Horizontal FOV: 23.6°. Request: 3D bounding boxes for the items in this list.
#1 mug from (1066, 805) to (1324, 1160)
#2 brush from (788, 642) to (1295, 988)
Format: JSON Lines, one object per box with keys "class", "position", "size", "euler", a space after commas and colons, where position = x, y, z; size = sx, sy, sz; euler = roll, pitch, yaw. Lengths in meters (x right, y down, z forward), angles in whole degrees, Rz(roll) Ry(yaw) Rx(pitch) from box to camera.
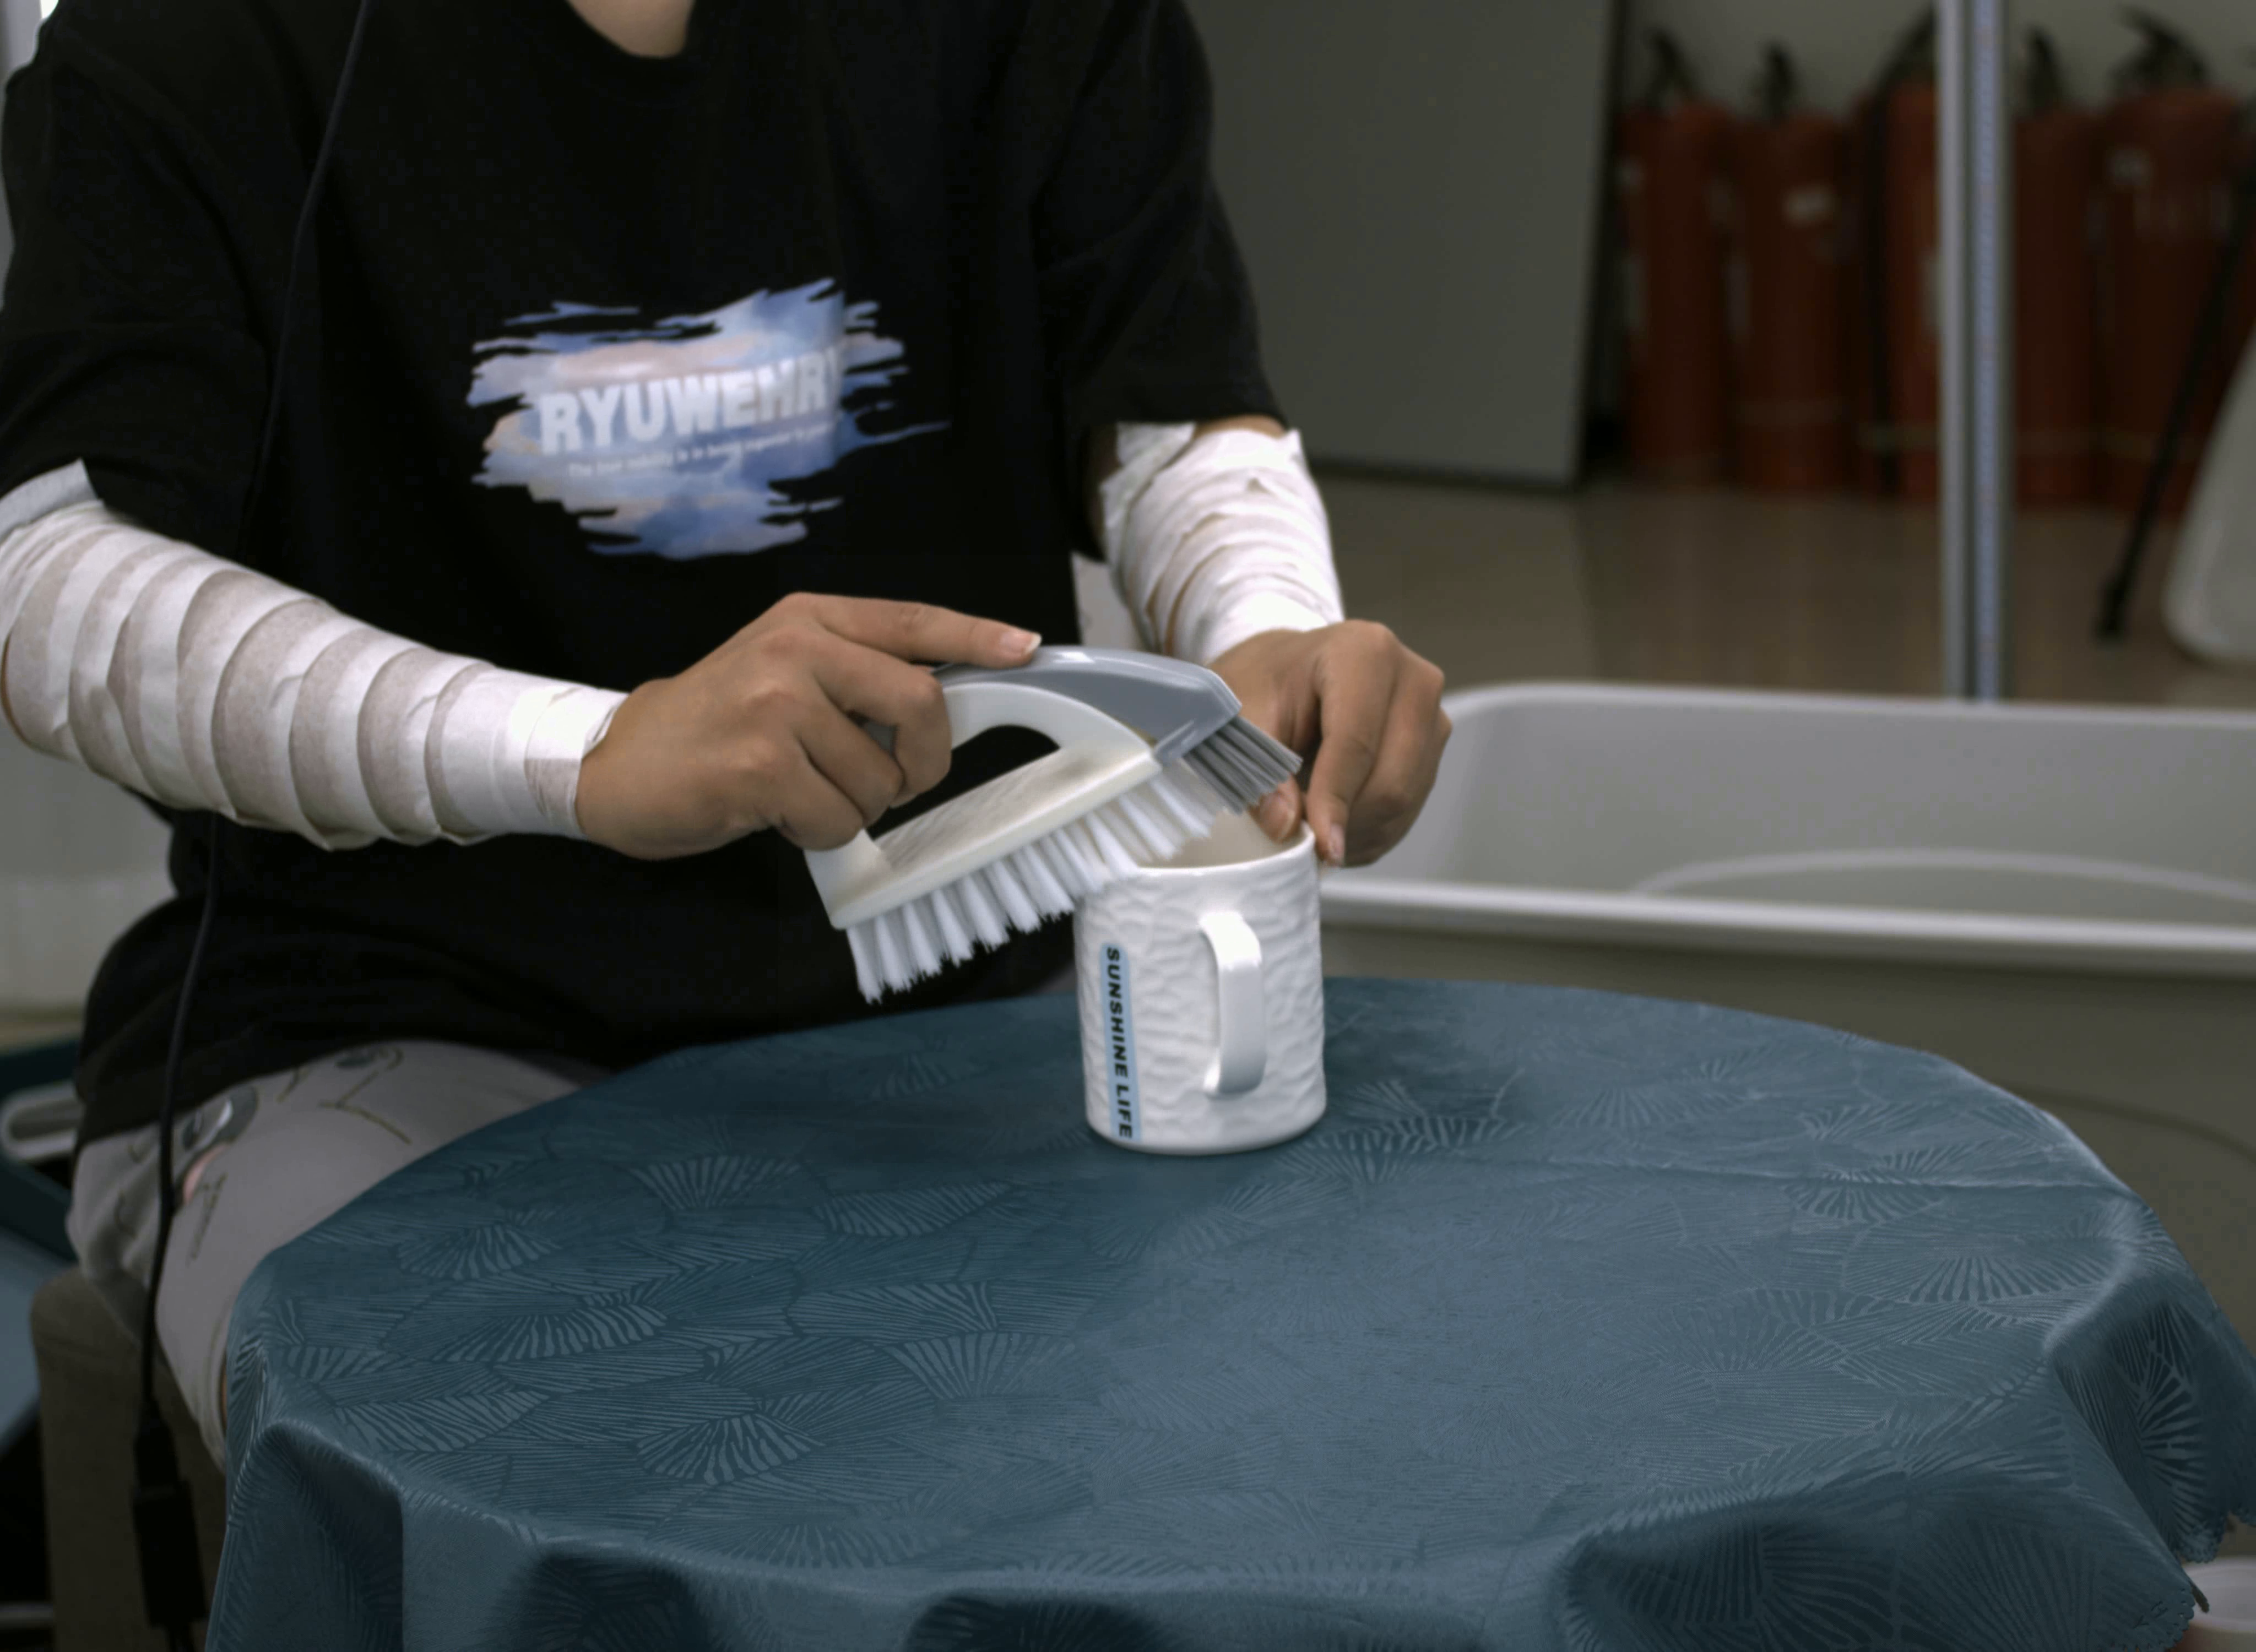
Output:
{"class": "mug", "position": [0.027, 0.057, 1.813], "size": [0.083, 0.103, 0.119], "euler": [-7, 14, -12]}
{"class": "brush", "position": [-0.037, -0.019, 1.810], "size": [0.176, 0.094, 0.061], "euler": [-23, 23, 27]}
